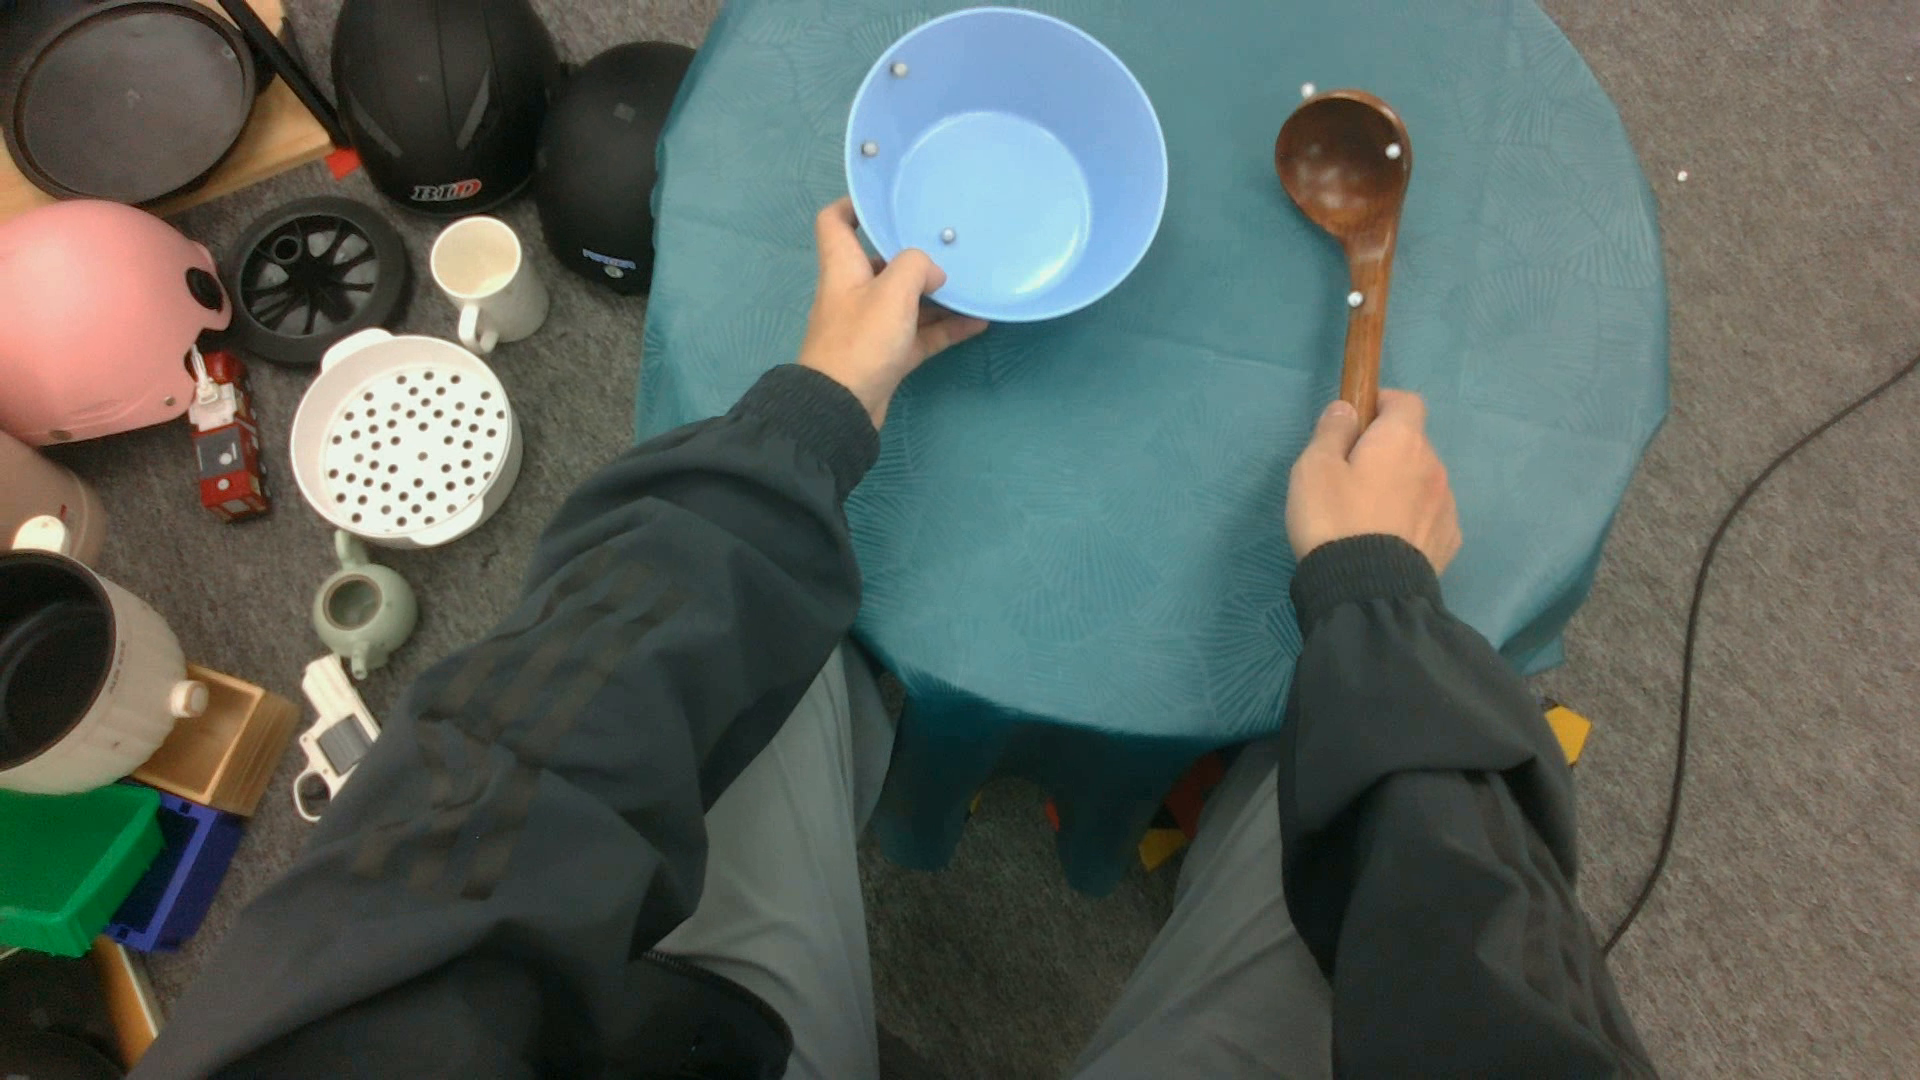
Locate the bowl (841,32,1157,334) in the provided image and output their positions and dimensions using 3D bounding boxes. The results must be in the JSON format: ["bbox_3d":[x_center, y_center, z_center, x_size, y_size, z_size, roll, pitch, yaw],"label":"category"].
[{"bbox_3d":[0.019,-0.194,0.788,0.176,0.070,0.176,1,81,-6],"label":"bowl"}]

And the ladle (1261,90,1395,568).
[{"bbox_3d":[0.199,-0.124,0.769,0.076,0.081,0.275,18,70,-23],"label":"ladle"}]
